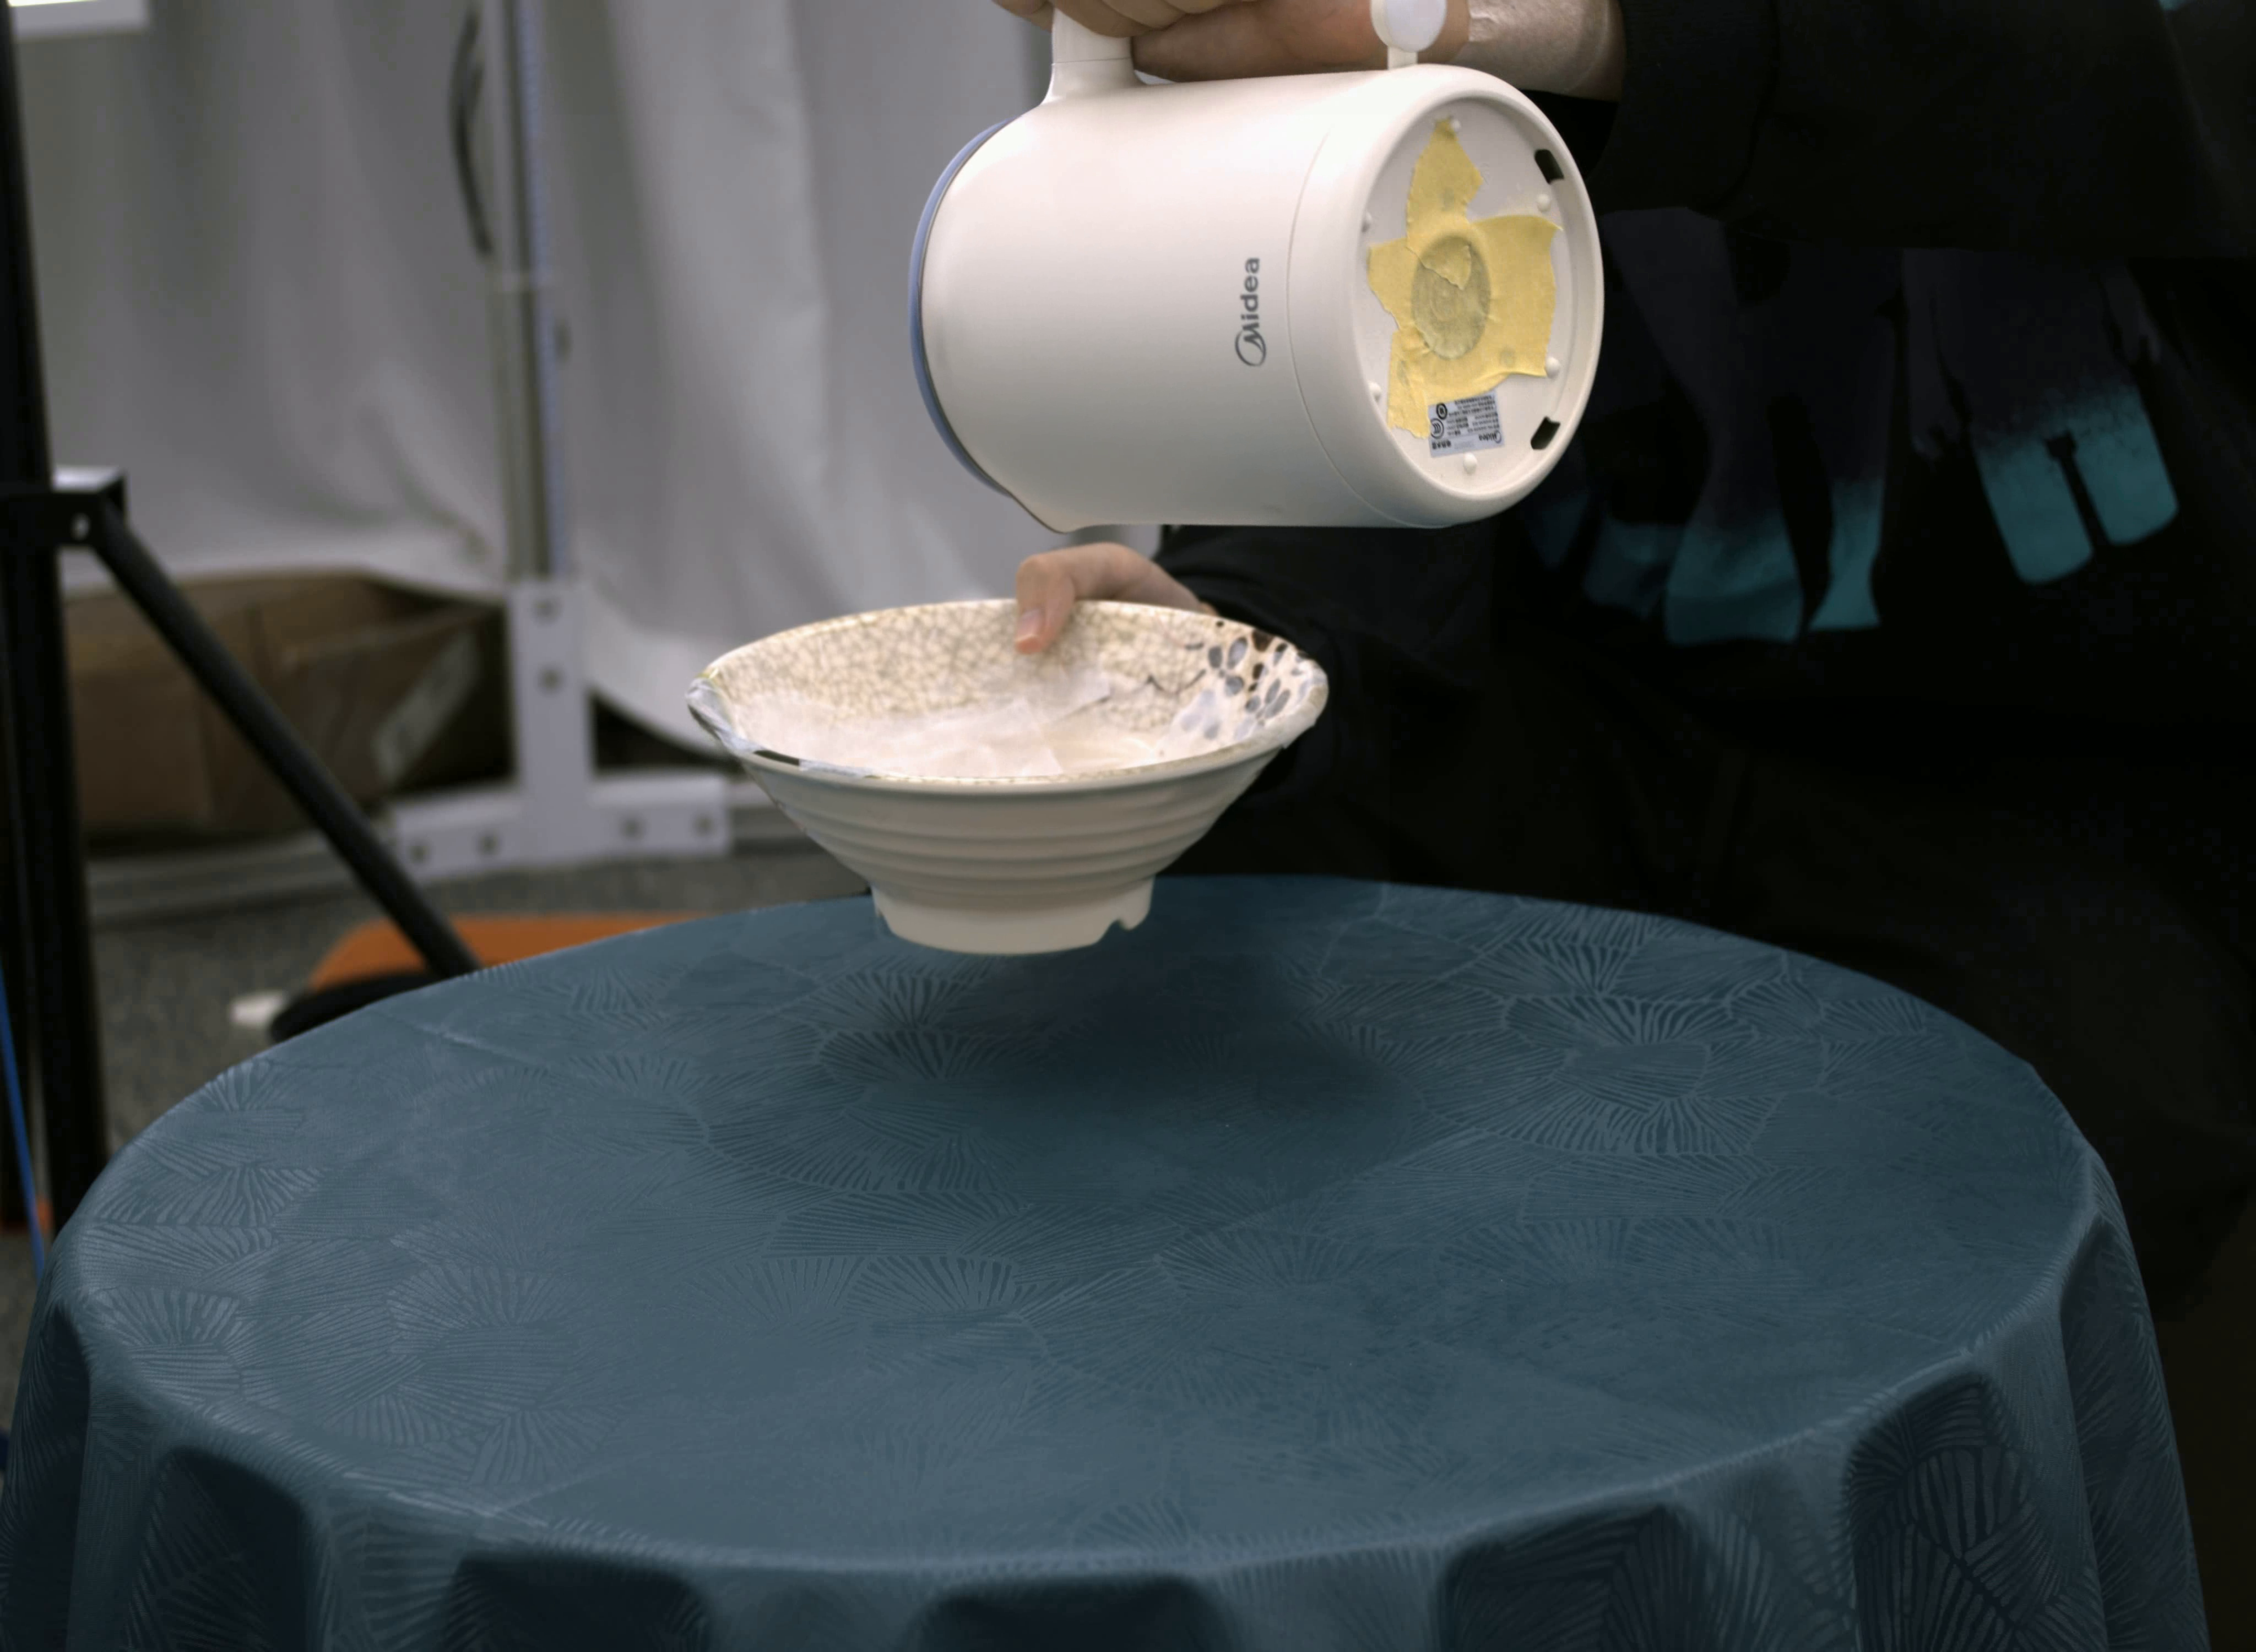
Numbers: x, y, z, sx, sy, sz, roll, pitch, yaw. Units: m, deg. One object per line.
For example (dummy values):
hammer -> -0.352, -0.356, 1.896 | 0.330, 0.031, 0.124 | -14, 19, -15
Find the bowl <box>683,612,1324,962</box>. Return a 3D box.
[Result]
bowl -> -0.040, -0.006, 1.691 | 0.203, 0.078, 0.205 | 0, 16, -1

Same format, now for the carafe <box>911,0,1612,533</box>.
carafe -> 0.038, -0.178, 1.556 | 0.186, 0.191, 0.129 | 6, 9, 41
